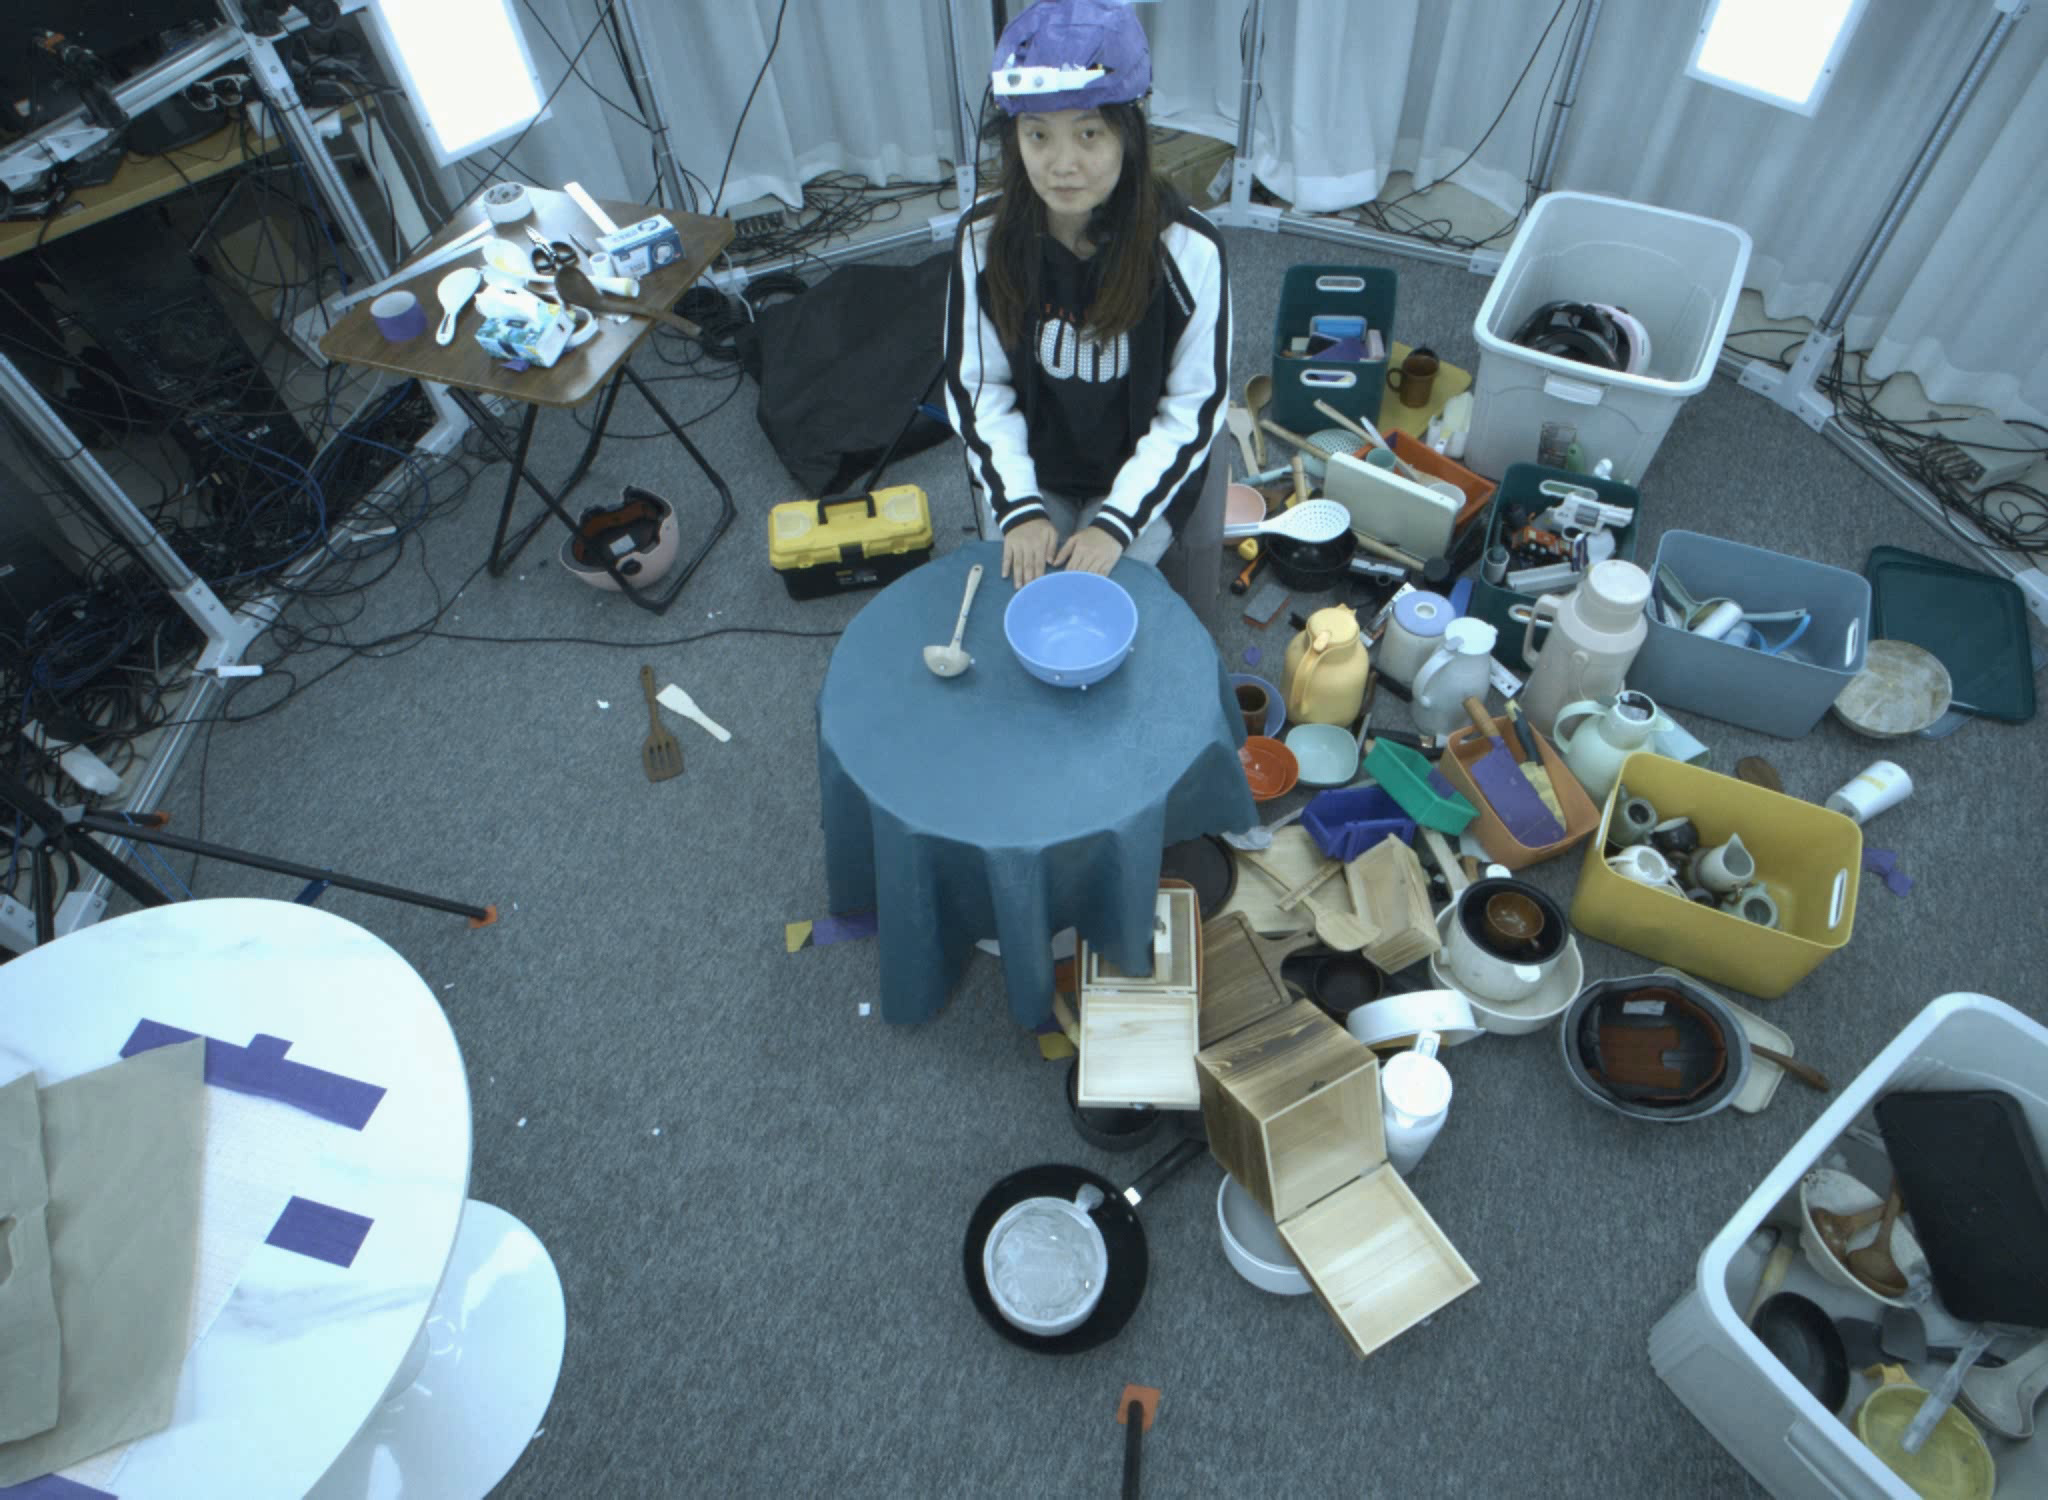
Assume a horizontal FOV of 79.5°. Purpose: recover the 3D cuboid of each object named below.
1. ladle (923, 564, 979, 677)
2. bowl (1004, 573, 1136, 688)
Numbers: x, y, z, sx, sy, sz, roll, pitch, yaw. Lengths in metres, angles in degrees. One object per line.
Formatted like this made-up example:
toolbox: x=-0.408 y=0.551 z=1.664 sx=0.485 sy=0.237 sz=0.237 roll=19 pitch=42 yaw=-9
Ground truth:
ladle: x=-0.102 y=-0.223 z=1.904 sx=0.072 sy=0.073 sz=0.252 roll=6 pitch=55 yaw=6
bowl: x=0.071 y=-0.164 z=1.848 sx=0.196 sy=0.096 sz=0.194 roll=-2 pitch=54 yaw=3
